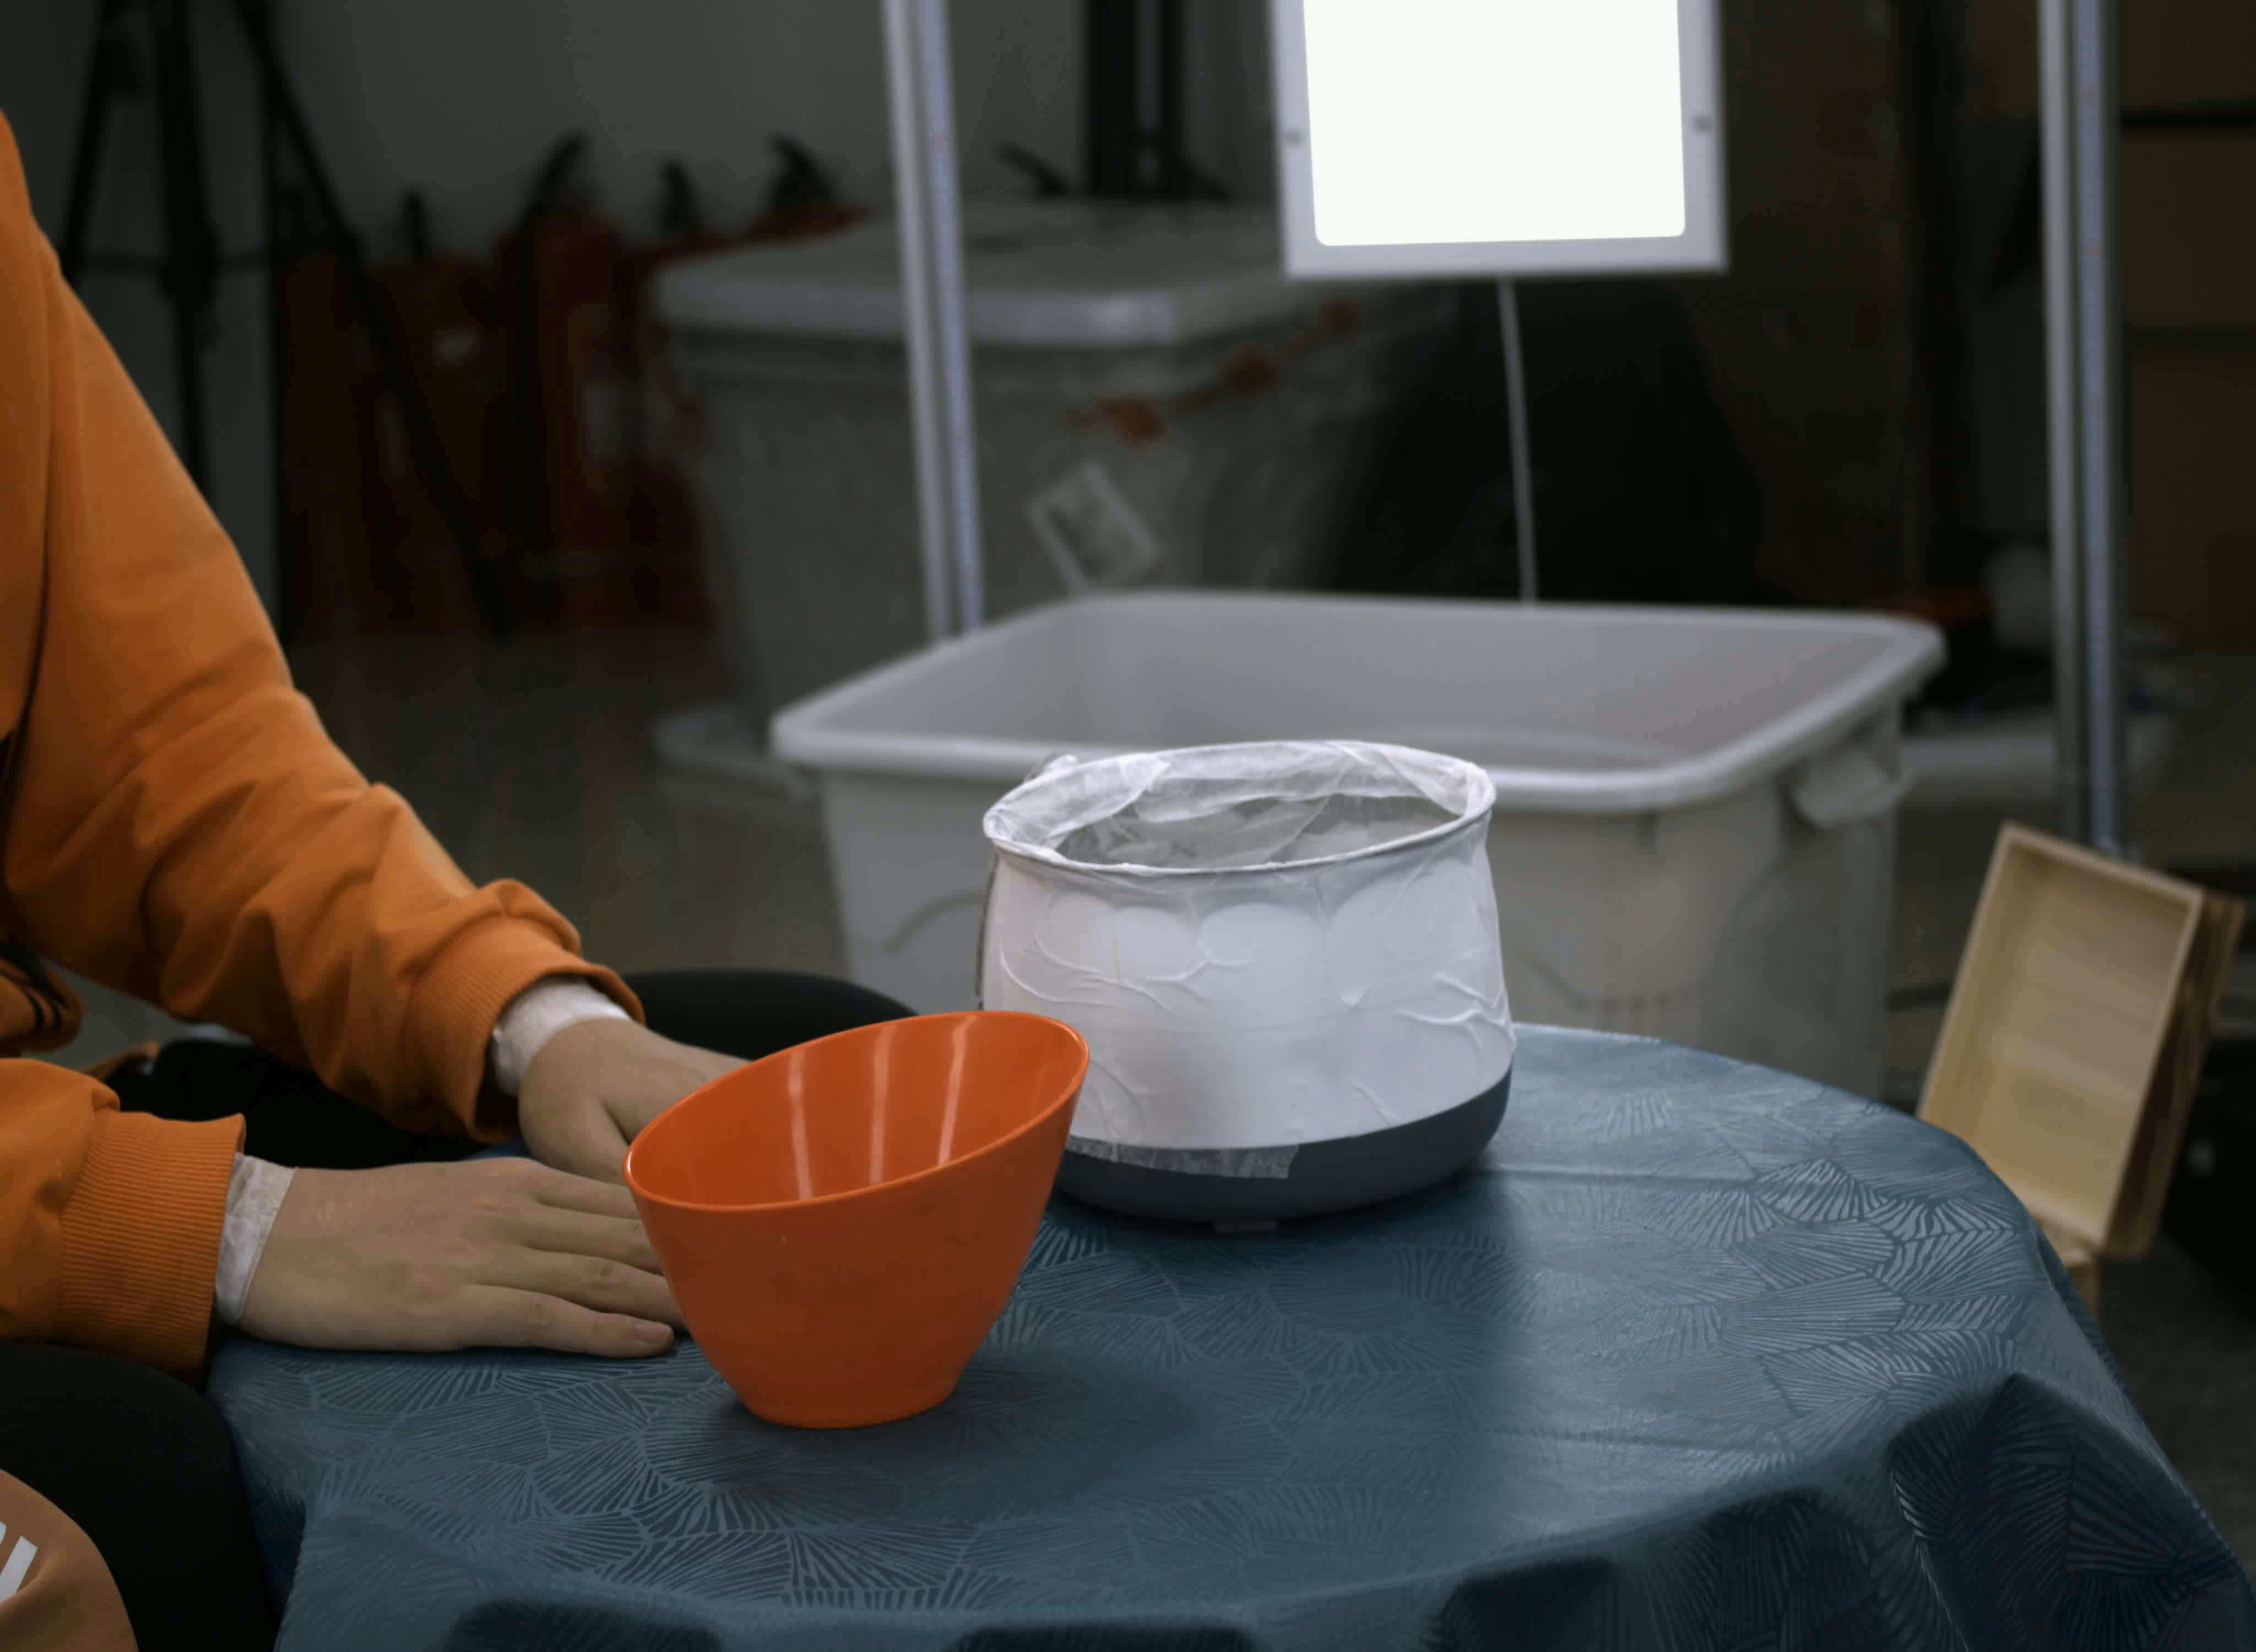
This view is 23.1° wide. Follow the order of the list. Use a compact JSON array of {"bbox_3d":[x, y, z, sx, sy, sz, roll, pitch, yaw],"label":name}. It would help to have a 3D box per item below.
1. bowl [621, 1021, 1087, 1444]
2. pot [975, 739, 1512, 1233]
[{"bbox_3d":[-0.080,0.130,1.713,0.147,0.105,0.148,-6,14,0],"label":"bowl"},{"bbox_3d":[0.025,0.049,1.914,0.174,0.137,0.238,-15,17,-37],"label":"pot"}]
